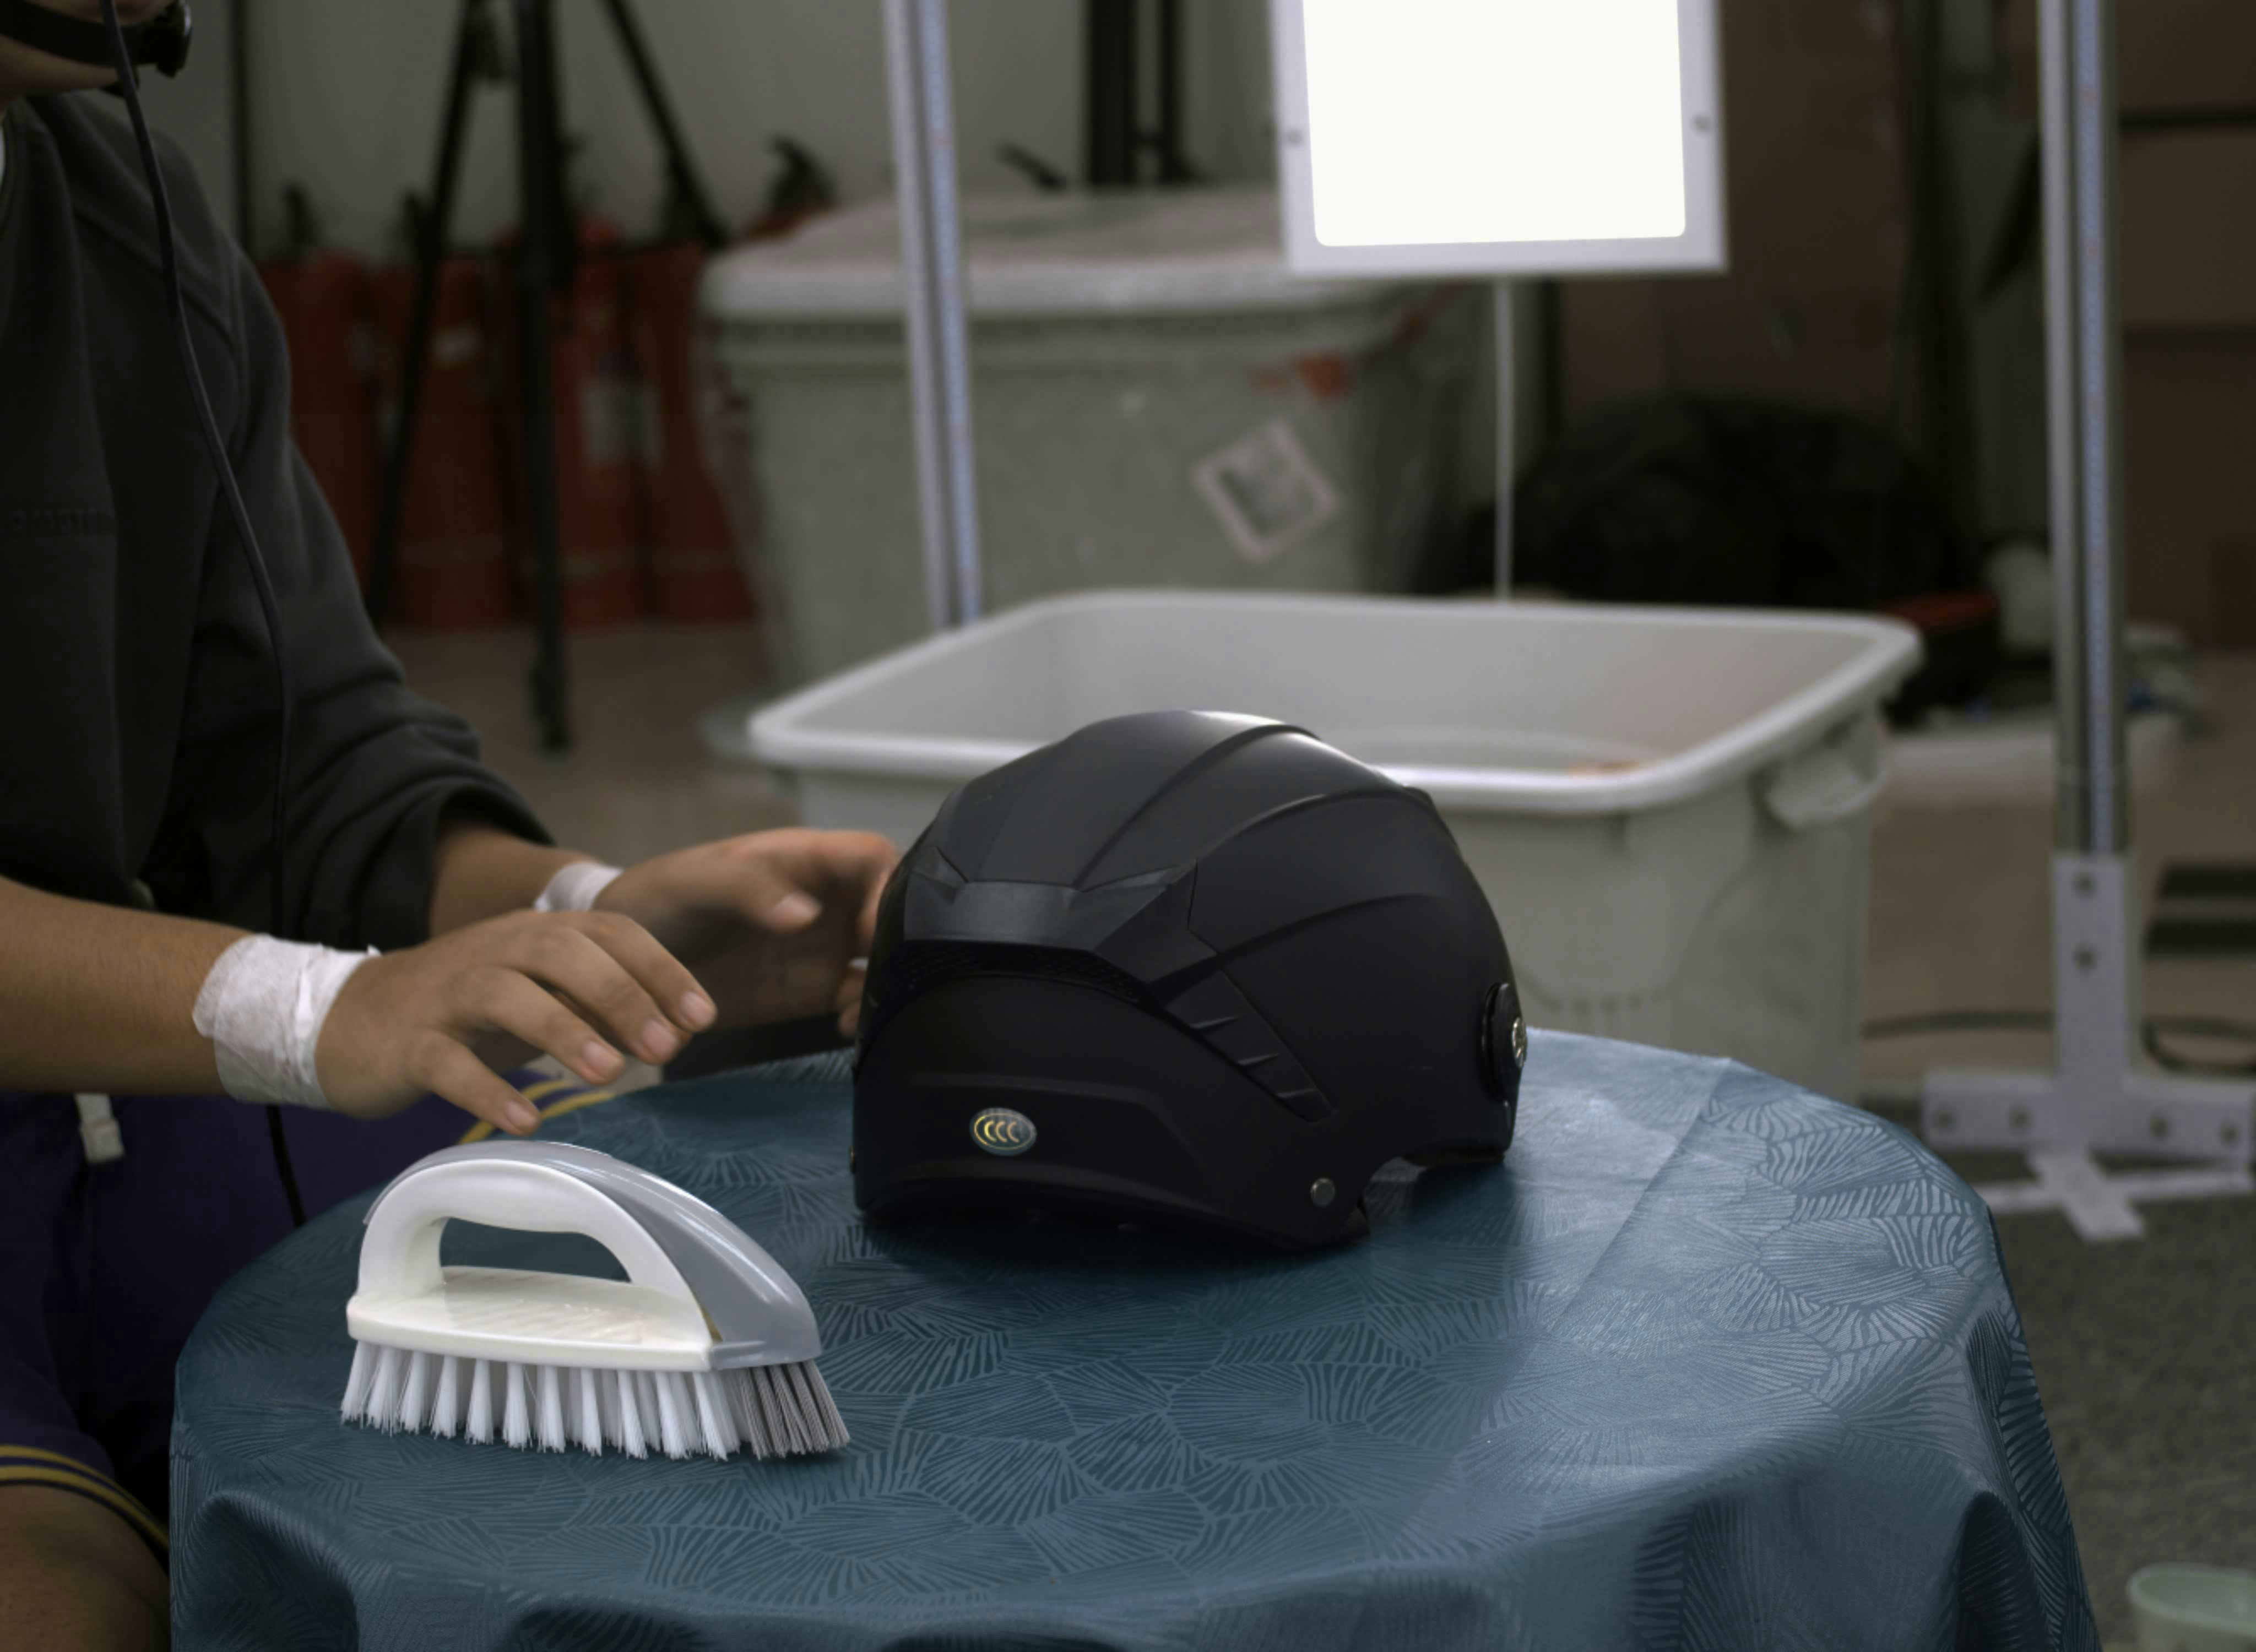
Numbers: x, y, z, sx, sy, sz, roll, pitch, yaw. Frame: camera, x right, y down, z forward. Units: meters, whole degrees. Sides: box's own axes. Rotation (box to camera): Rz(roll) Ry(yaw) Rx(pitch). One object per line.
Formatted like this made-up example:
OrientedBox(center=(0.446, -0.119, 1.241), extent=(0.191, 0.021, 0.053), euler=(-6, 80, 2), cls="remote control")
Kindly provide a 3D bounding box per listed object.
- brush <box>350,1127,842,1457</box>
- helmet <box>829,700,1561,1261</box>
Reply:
OrientedBox(center=(-0.164, 0.142, 1.704), extent=(0.179, 0.094, 0.060), euler=(6, 19, 33), cls="brush")
OrientedBox(center=(0.020, 0.043, 1.898), extent=(0.251, 0.173, 0.270), euler=(4, 20, 29), cls="helmet")
